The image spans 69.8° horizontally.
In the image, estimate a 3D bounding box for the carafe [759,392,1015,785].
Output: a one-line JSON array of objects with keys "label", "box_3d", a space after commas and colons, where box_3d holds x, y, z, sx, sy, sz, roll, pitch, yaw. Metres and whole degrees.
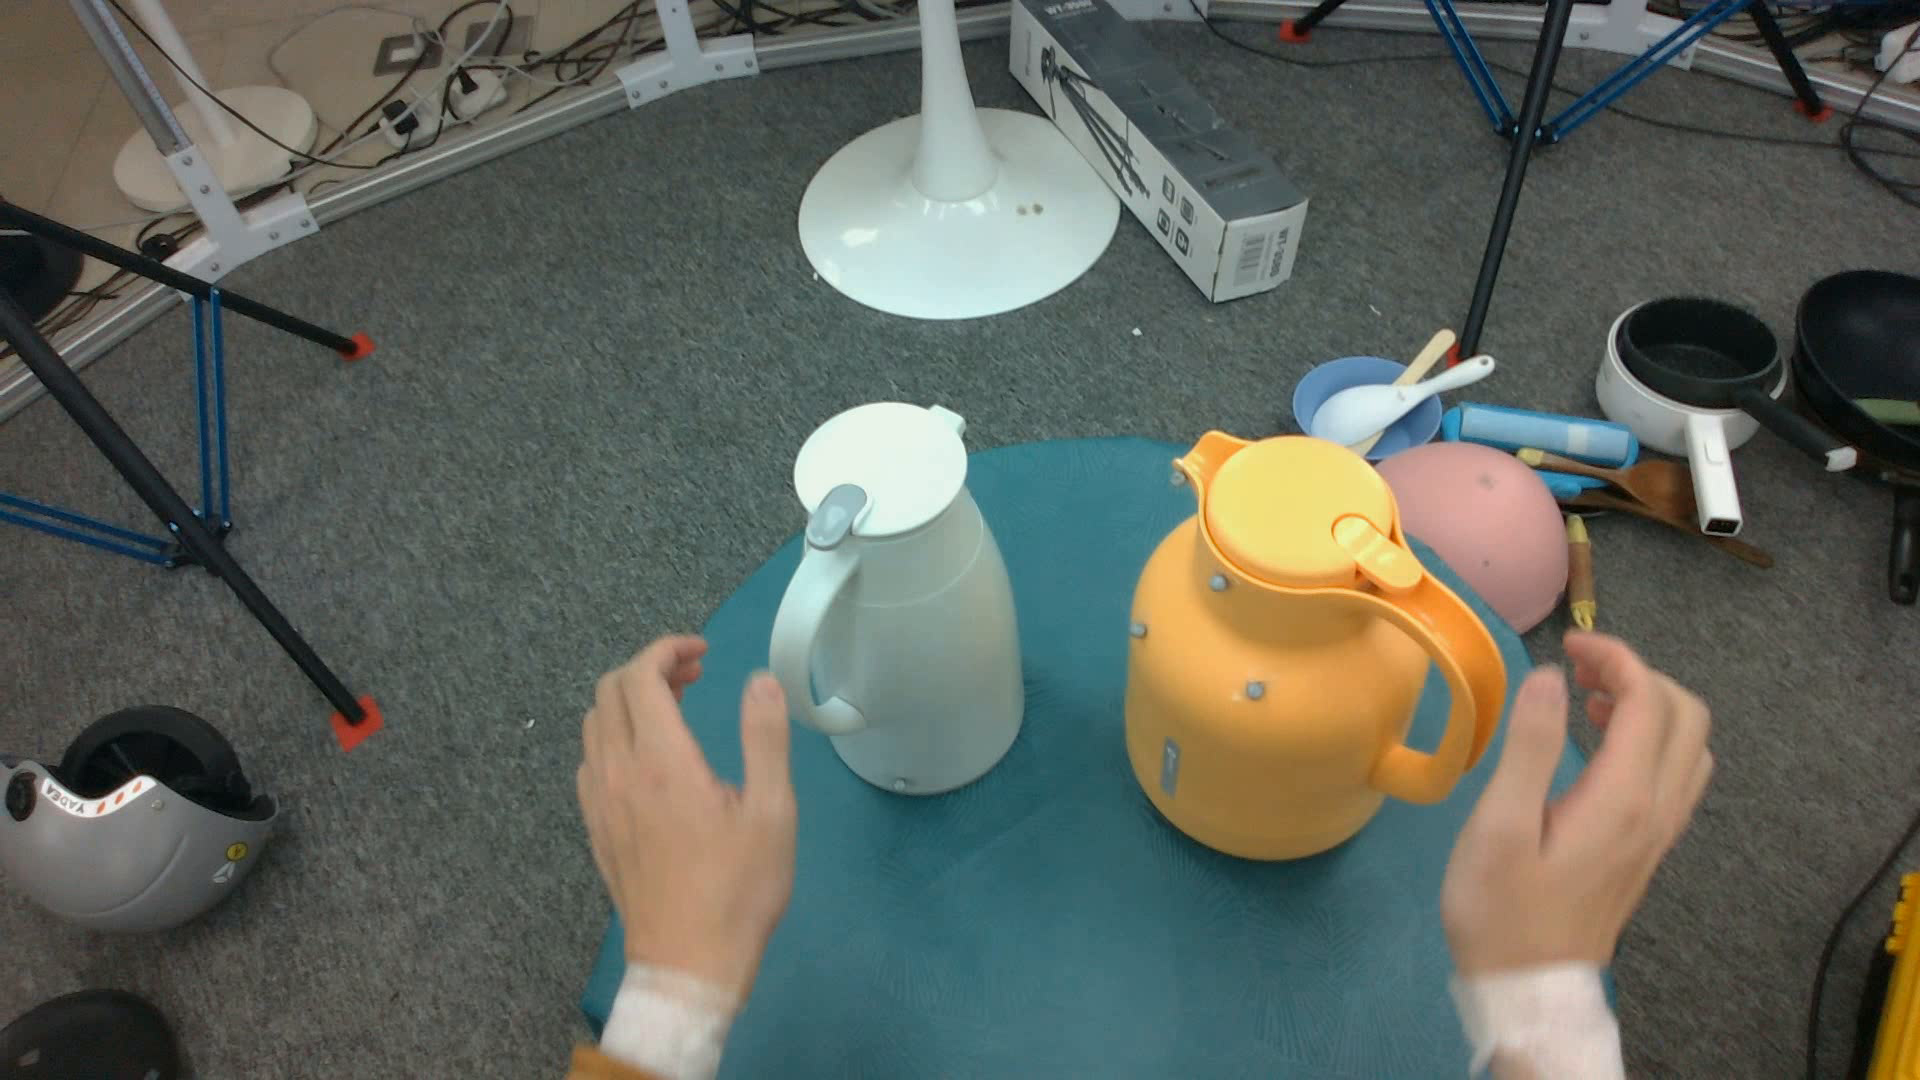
[{"label": "carafe", "box_3d": [-0.048, 0.041, 0.798, 0.132, 0.247, 0.168, 25, 59, 23]}]

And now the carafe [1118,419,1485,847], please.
[{"label": "carafe", "box_3d": [0.181, 0.062, 0.756, 0.164, 0.259, 0.202, -37, 56, -20]}]
